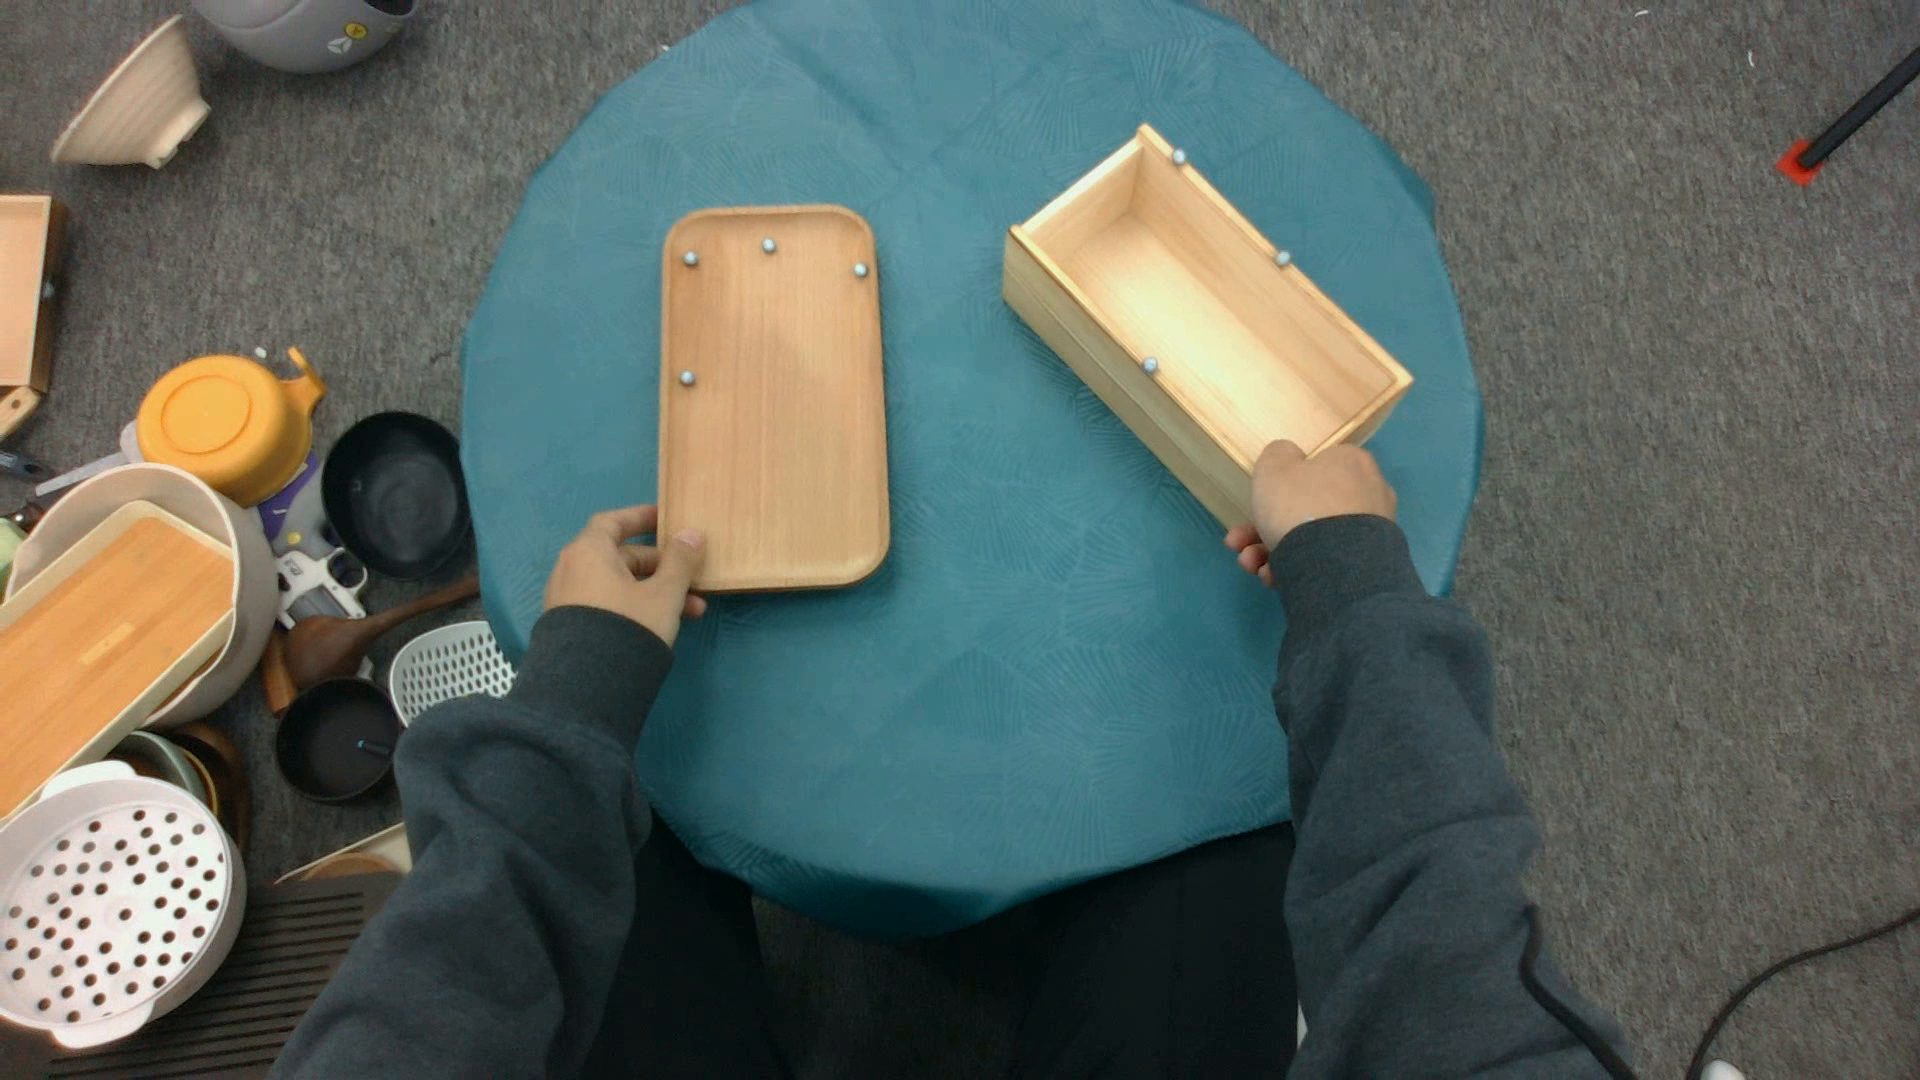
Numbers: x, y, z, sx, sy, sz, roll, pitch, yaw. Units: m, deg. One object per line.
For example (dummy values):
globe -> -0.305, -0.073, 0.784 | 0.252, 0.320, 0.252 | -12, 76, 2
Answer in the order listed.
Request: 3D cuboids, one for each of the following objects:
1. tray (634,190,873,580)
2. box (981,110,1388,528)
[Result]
tray -> -0.119, -0.094, 0.789 | 0.130, 0.023, 0.251 | -4, 67, -2
box -> 0.121, -0.125, 0.785 | 0.108, 0.080, 0.211 | -40, 77, -13
